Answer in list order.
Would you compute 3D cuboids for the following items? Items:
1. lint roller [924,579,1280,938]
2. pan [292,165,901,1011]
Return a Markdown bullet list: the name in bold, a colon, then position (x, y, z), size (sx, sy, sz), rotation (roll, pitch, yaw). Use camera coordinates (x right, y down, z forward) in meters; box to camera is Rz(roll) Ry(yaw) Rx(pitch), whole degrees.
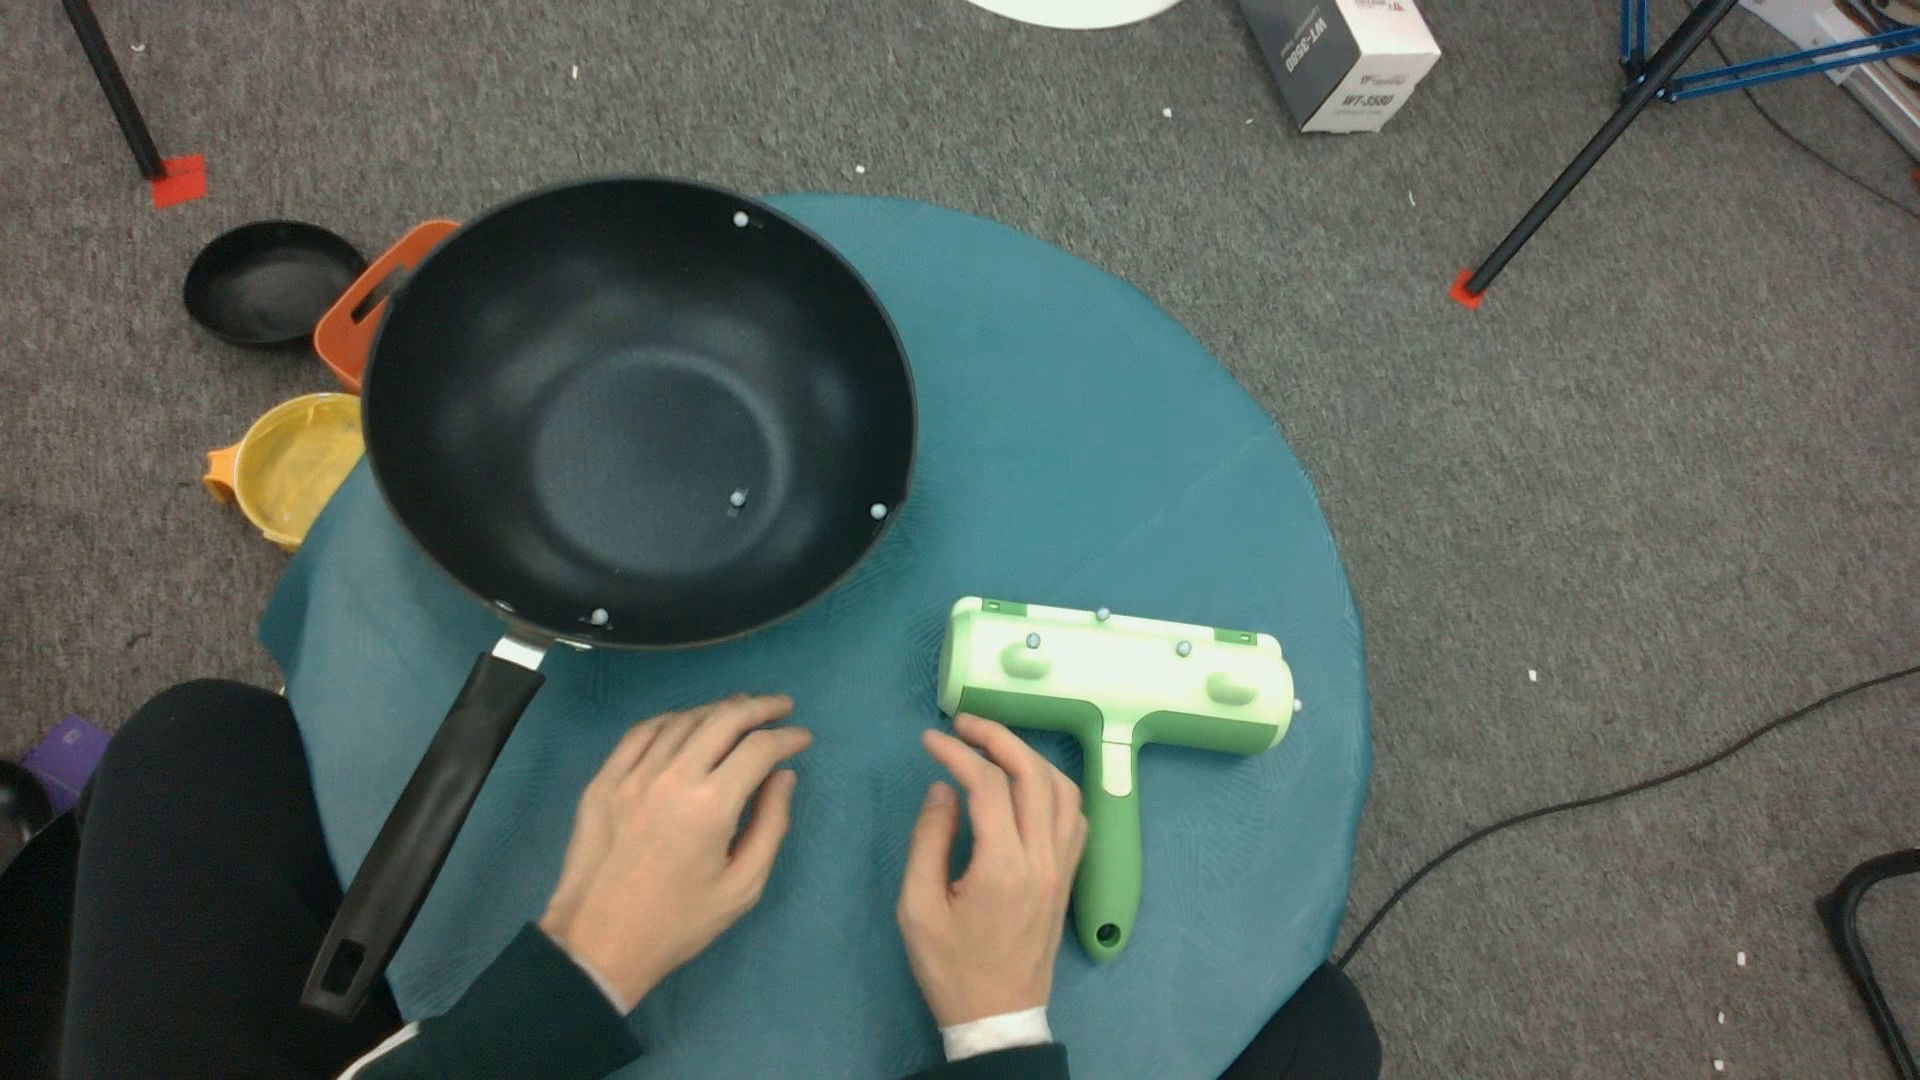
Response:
- **lint roller**: position (0.080, 0.113, 0.737), size (0.199, 0.082, 0.184), rotation (7, 60, -10)
- **pan**: position (-0.204, 0.013, 0.714), size (0.288, 0.086, 0.465), rotation (20, 65, -3)
